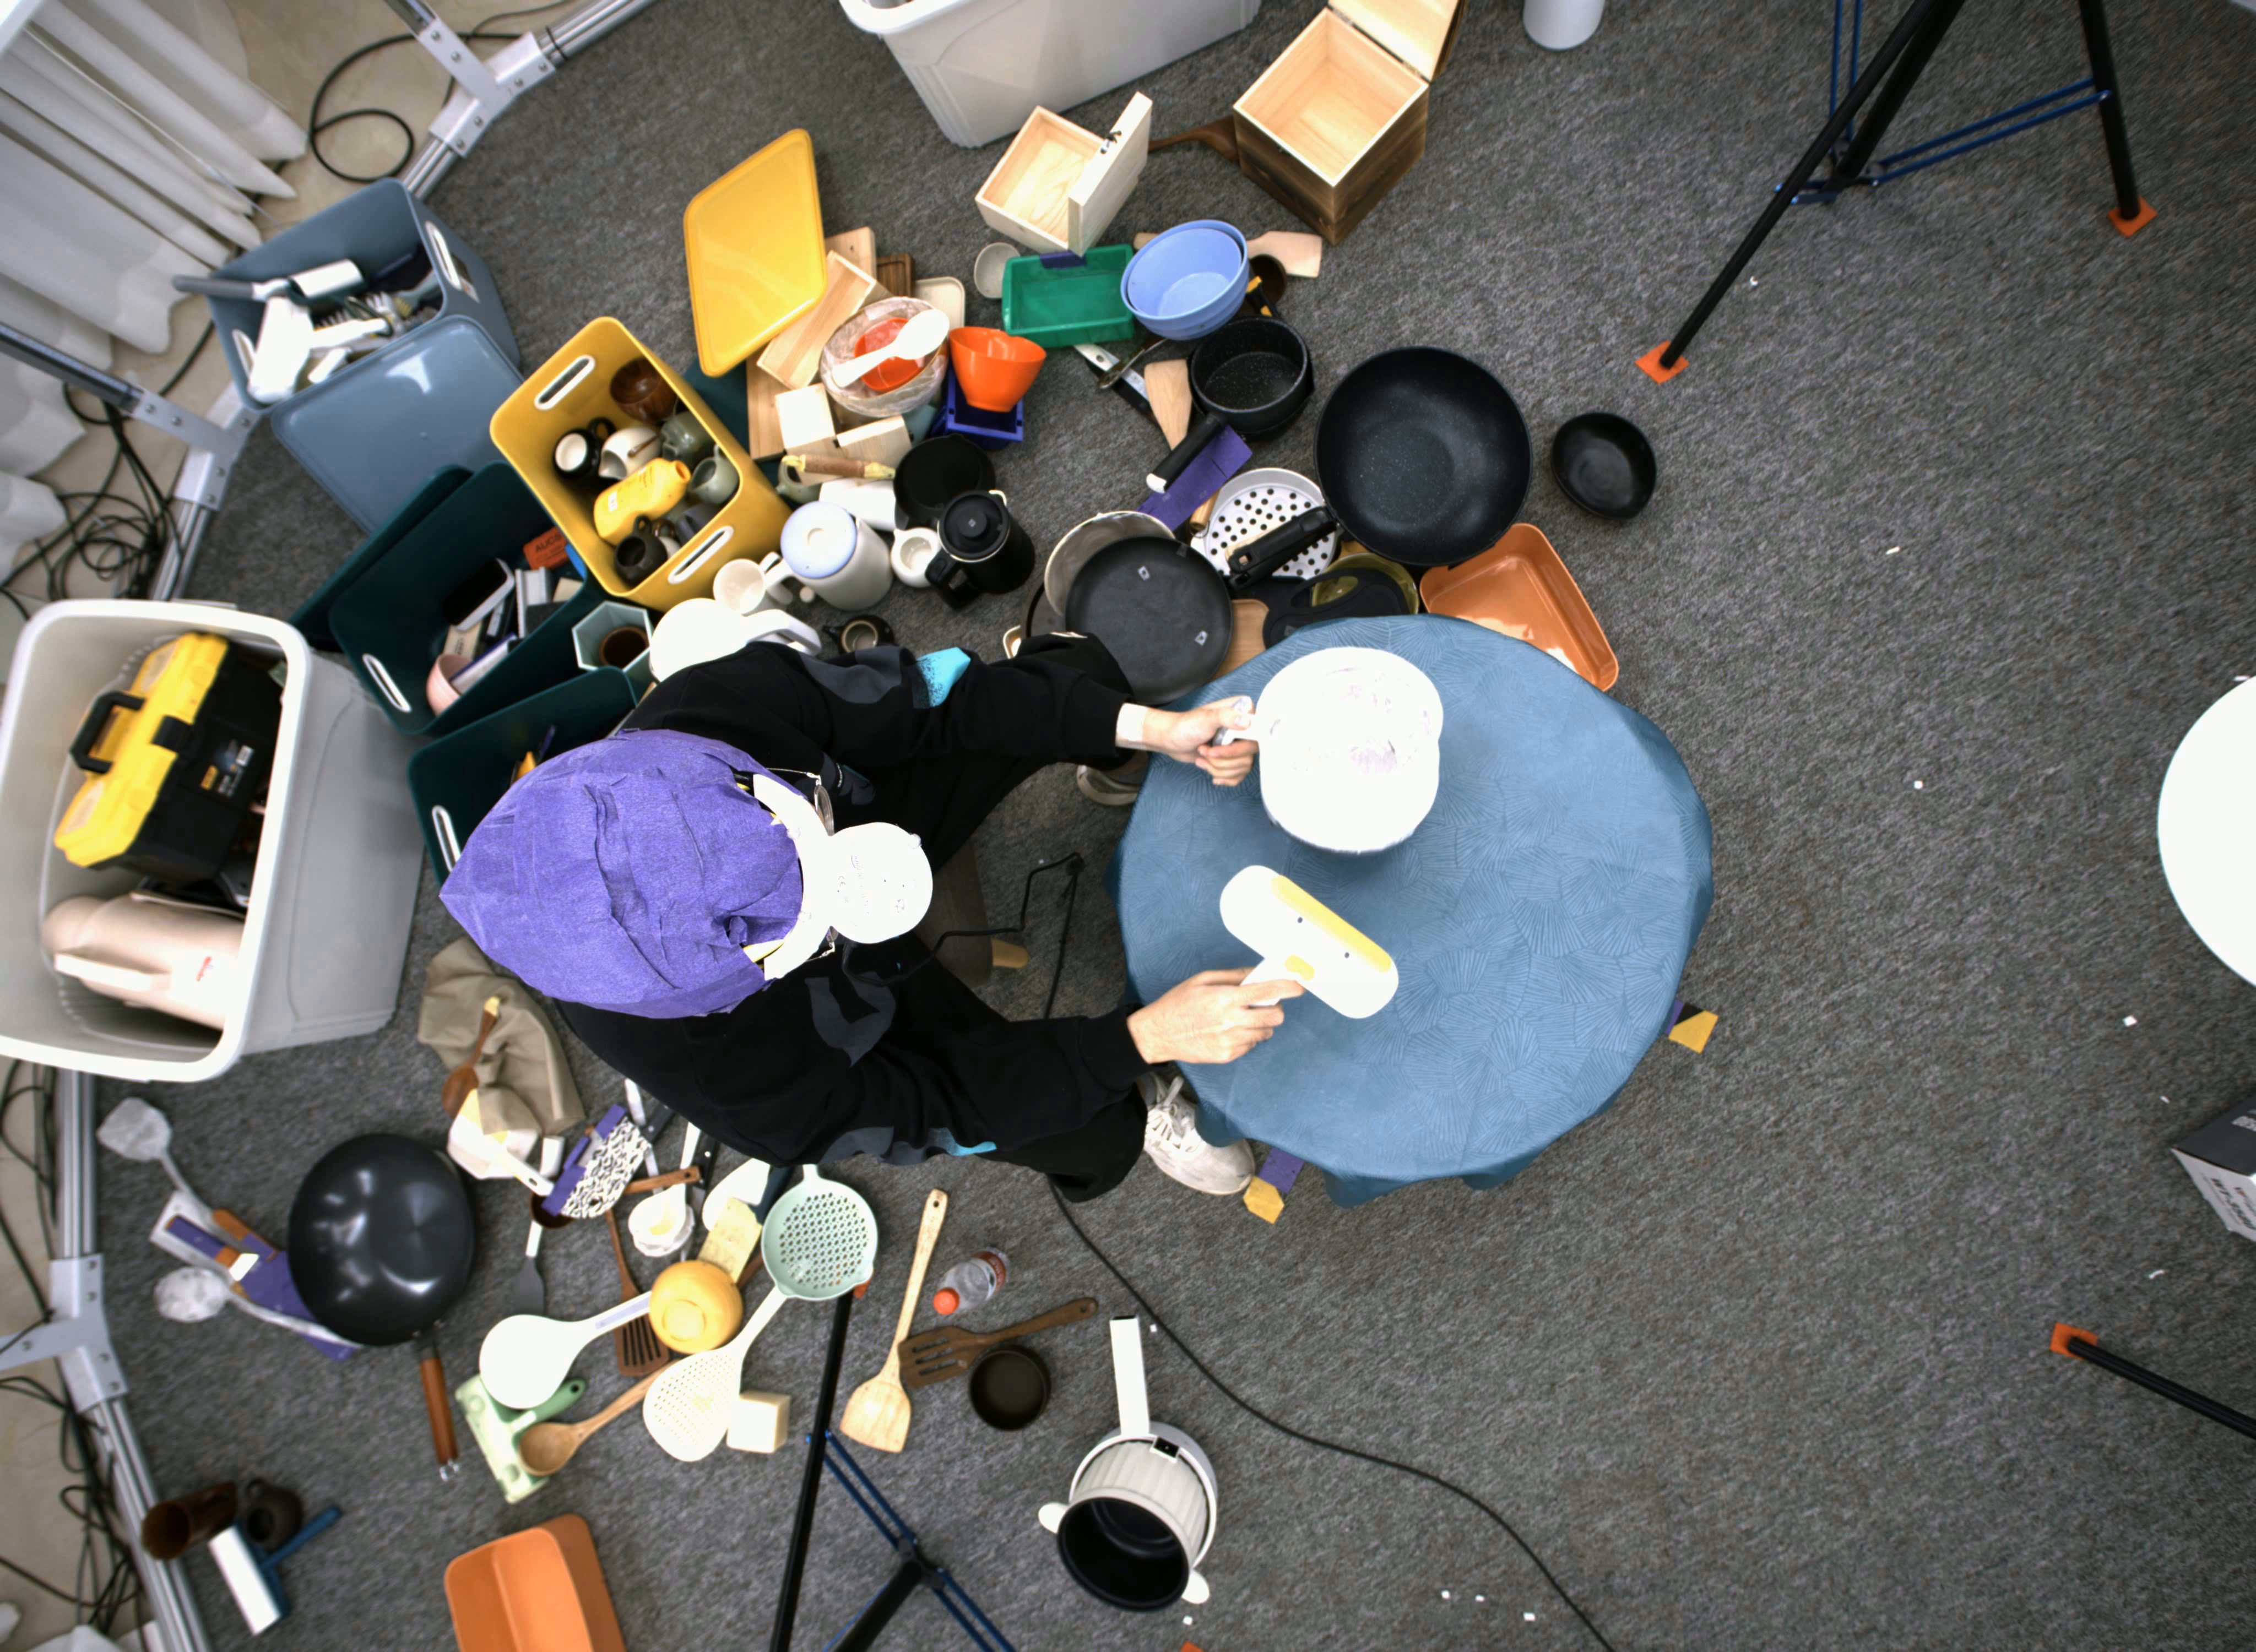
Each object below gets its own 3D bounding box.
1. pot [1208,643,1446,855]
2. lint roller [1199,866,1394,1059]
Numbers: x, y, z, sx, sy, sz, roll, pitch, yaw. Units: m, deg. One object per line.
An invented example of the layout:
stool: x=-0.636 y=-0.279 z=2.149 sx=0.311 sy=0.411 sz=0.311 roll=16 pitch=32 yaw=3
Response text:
pot: x=0.191 y=-0.076 z=1.355 sx=0.234 sy=0.139 sz=0.174 roll=8 pitch=56 yaw=15
lint roller: x=0.135 y=0.151 z=1.342 sx=0.193 sy=0.072 sz=0.197 roll=30 pitch=127 yaw=-13
